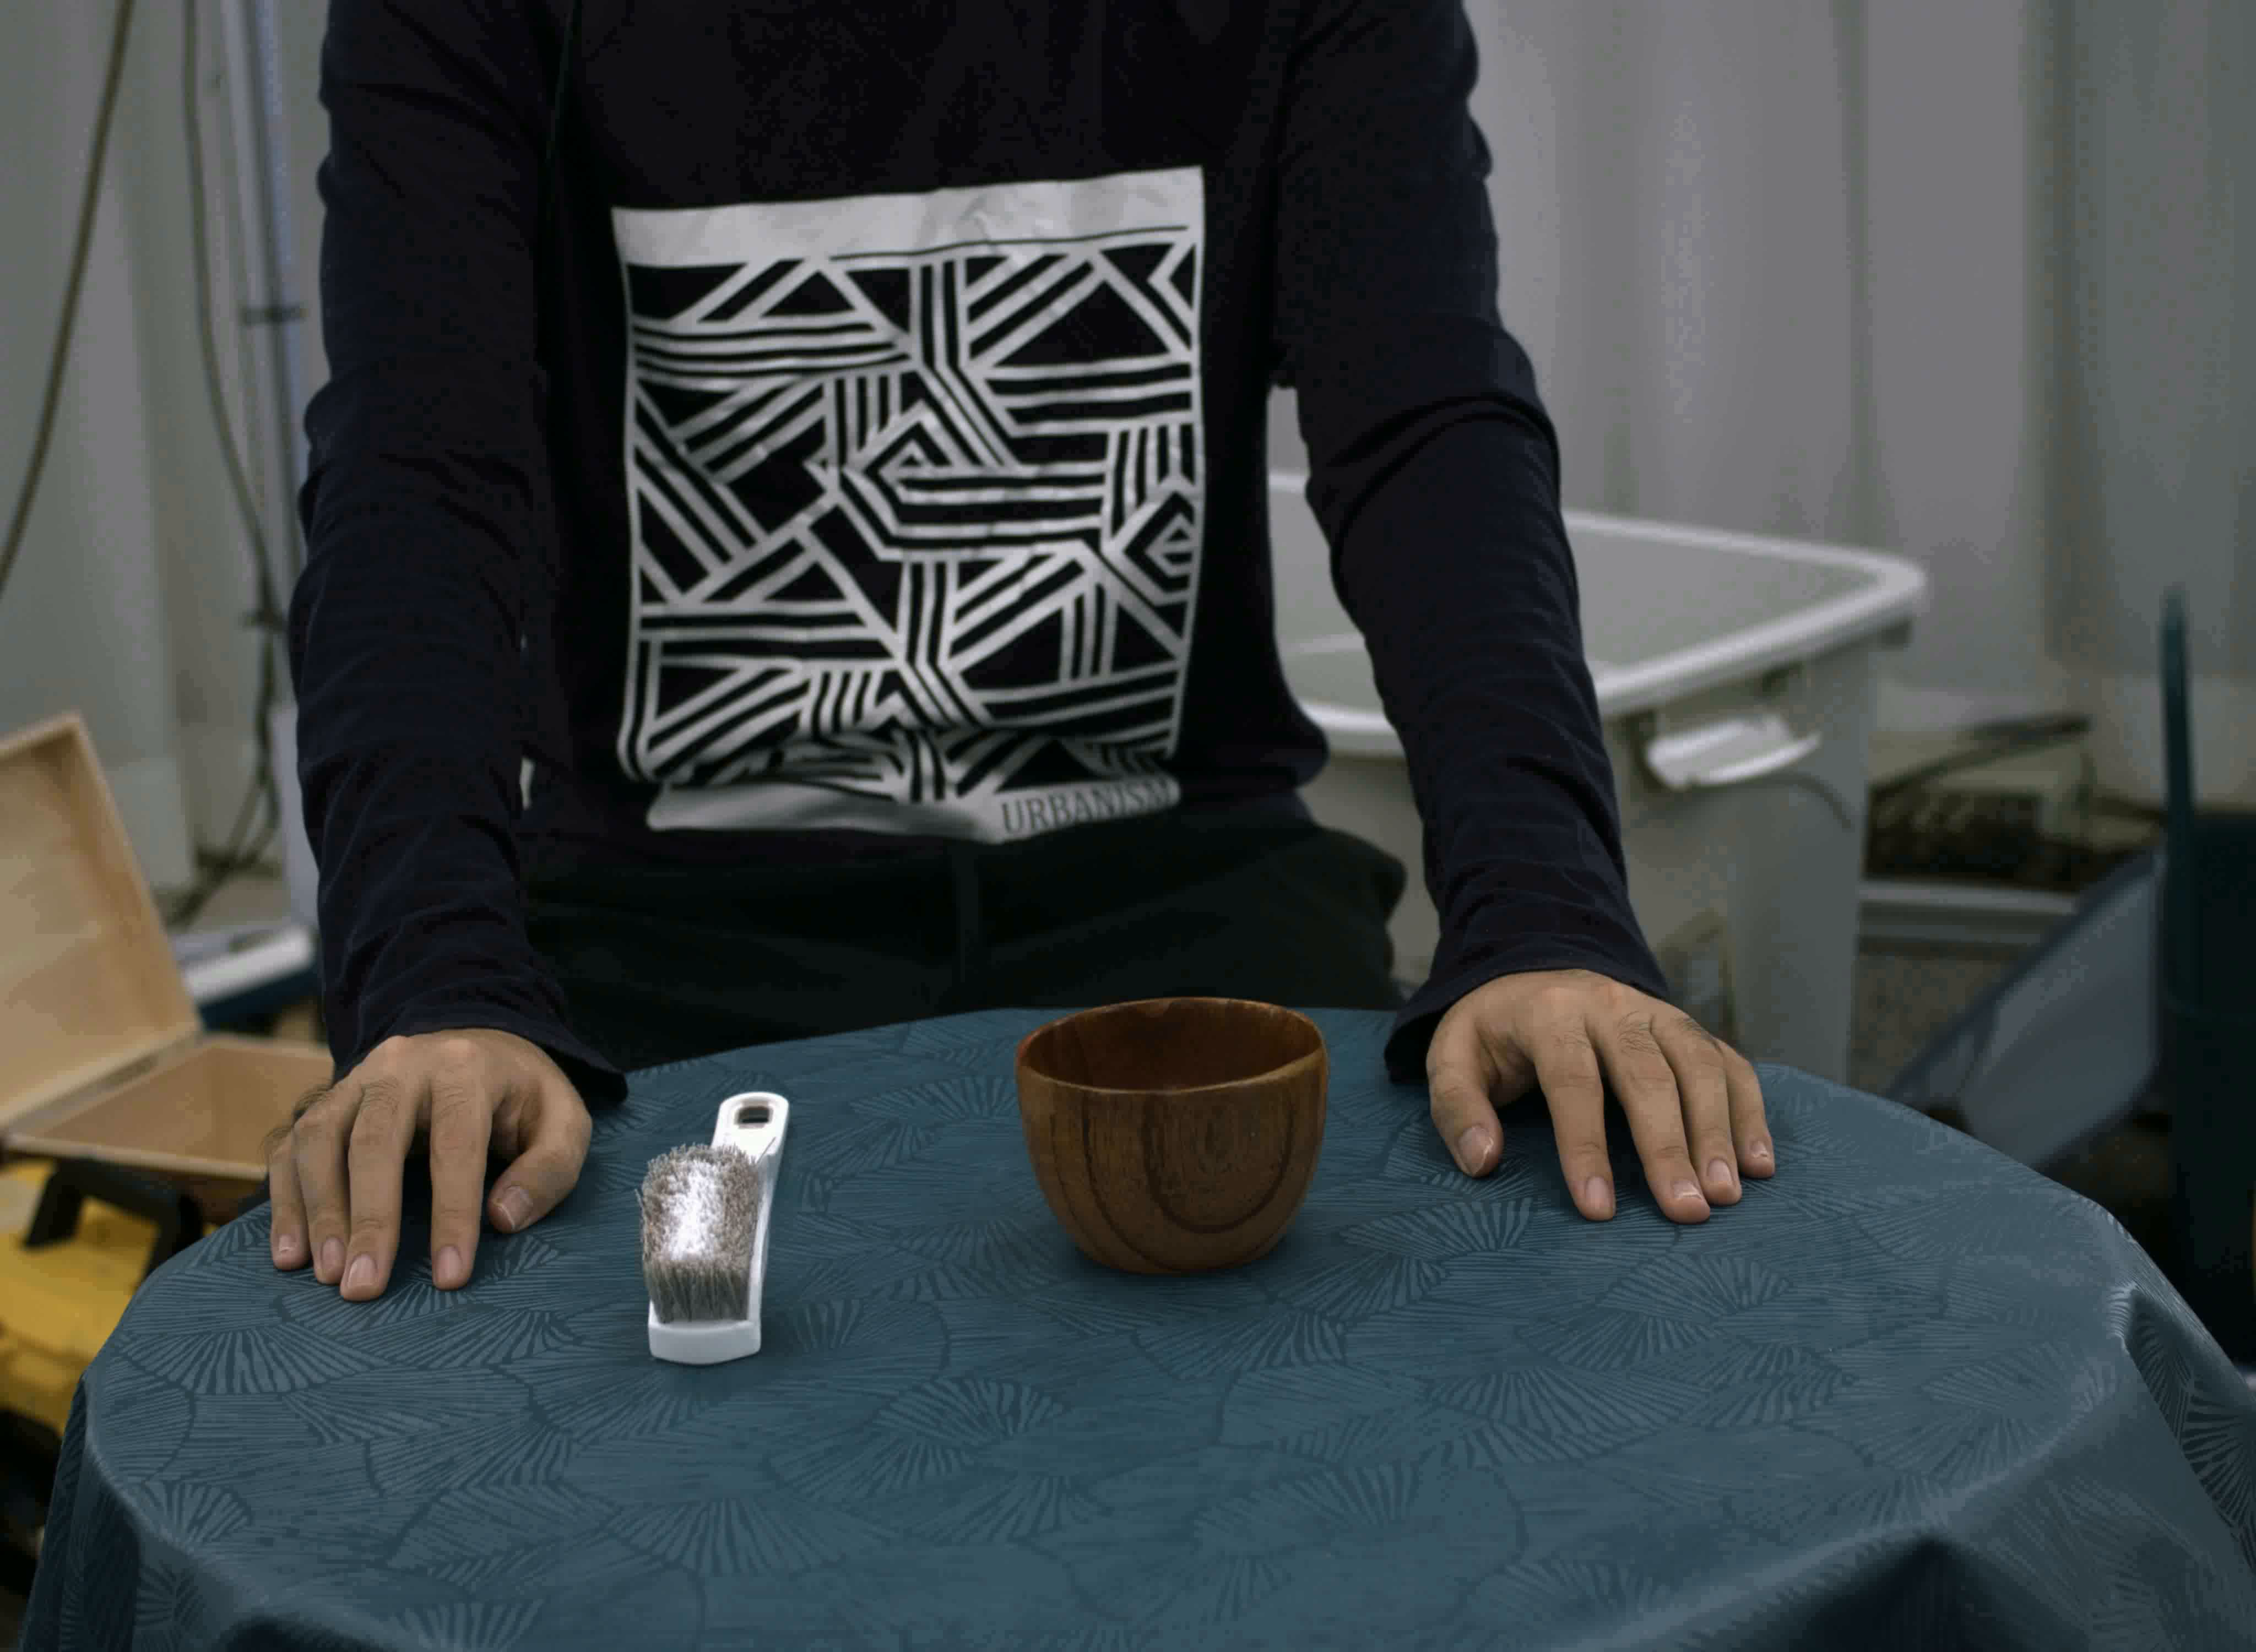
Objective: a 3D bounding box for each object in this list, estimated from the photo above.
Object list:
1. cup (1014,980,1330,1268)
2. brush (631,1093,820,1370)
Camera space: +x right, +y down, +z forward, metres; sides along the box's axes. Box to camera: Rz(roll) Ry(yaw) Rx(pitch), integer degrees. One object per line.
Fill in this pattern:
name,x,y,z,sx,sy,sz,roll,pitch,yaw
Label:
cup,0.014,0.089,1.671,0.096,0.067,0.120,-6,17,-6
brush,-0.121,0.105,1.685,0.034,0.050,0.245,-6,15,5
